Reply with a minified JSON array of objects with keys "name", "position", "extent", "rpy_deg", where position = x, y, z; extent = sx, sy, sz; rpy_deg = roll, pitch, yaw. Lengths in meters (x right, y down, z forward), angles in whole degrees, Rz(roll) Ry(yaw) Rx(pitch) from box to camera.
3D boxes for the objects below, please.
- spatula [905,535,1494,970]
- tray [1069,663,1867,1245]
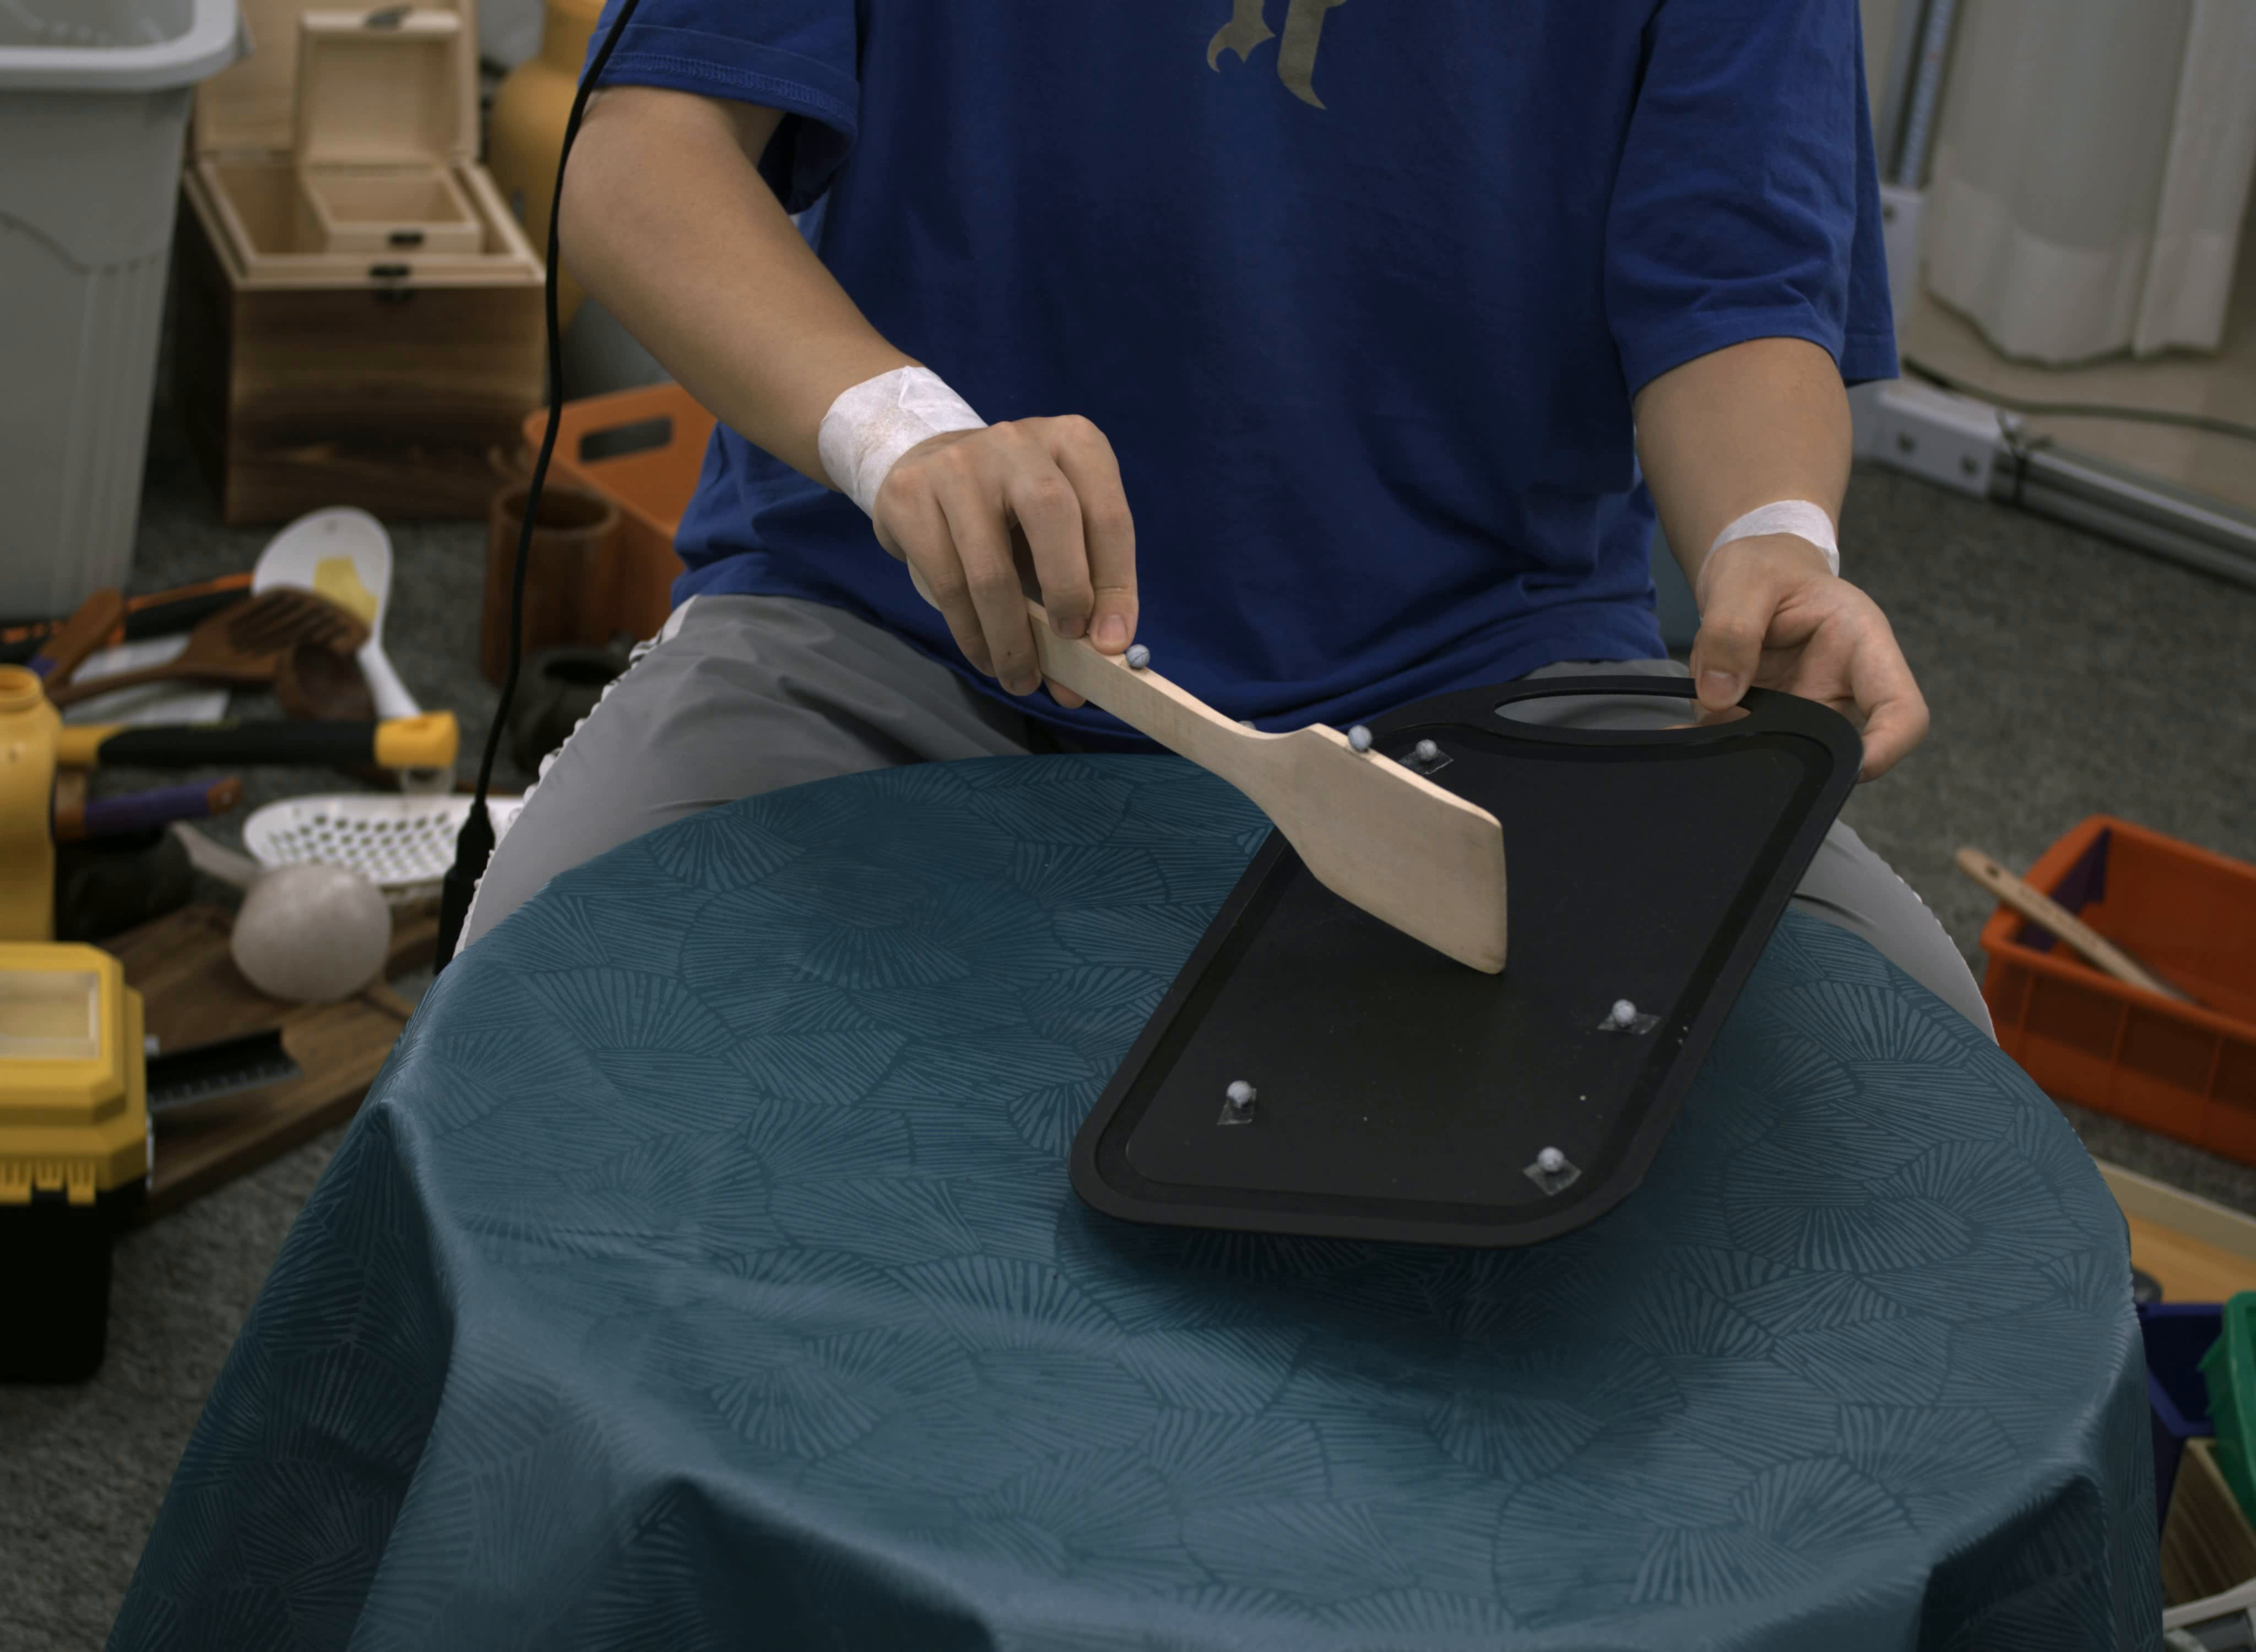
[{"name":"spatula","position":[0.019,-0.037,1.870],"extent":[0.010,0.072,0.295],"rpy_deg":[-34,47,-29]},{"name":"tray","position":[0.122,0.035,1.828],"extent":[0.212,0.010,0.326],"rpy_deg":[2,37,30]}]
